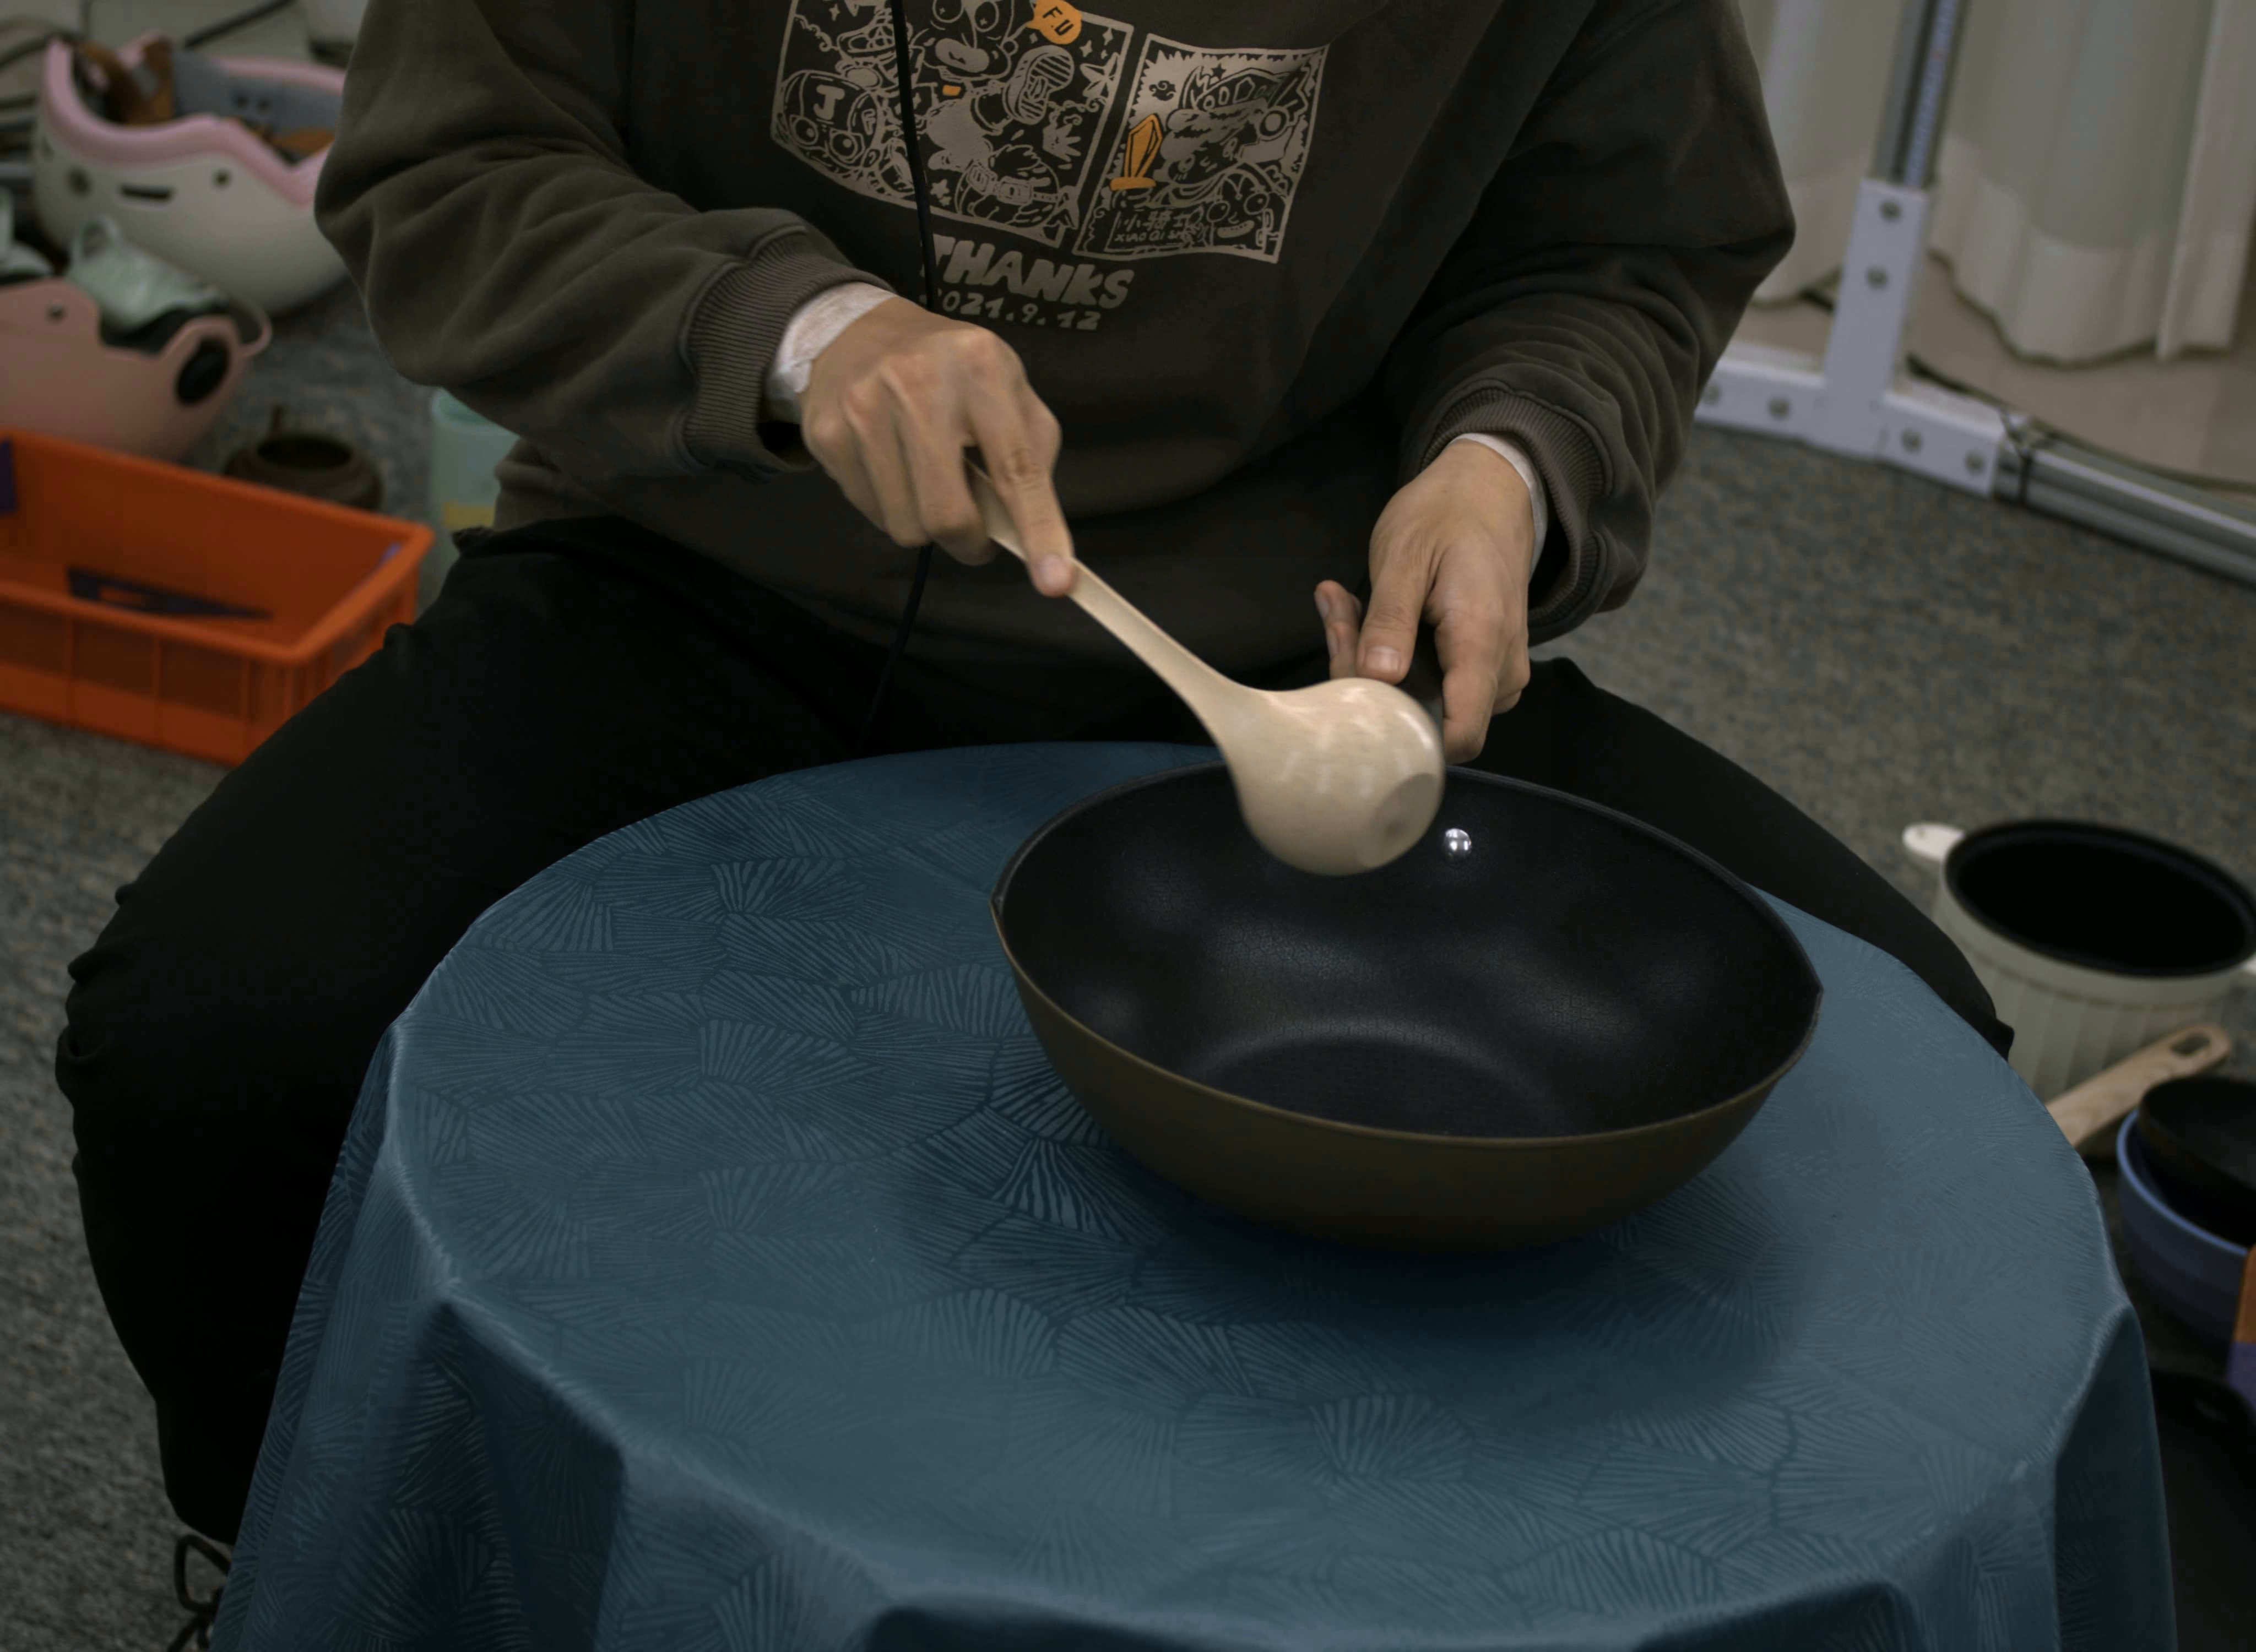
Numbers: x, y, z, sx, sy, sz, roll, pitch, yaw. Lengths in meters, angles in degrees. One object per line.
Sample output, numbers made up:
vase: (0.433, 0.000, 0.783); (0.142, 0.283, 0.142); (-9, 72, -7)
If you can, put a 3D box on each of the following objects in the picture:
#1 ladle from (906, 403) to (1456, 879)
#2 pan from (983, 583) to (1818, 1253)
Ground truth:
ladle: (0.018, -0.072, 1.900); (0.256, 0.072, 0.072); (44, 18, 34)
pan: (0.093, 0.033, 1.914); (0.287, 0.086, 0.465); (6, 25, 0)
